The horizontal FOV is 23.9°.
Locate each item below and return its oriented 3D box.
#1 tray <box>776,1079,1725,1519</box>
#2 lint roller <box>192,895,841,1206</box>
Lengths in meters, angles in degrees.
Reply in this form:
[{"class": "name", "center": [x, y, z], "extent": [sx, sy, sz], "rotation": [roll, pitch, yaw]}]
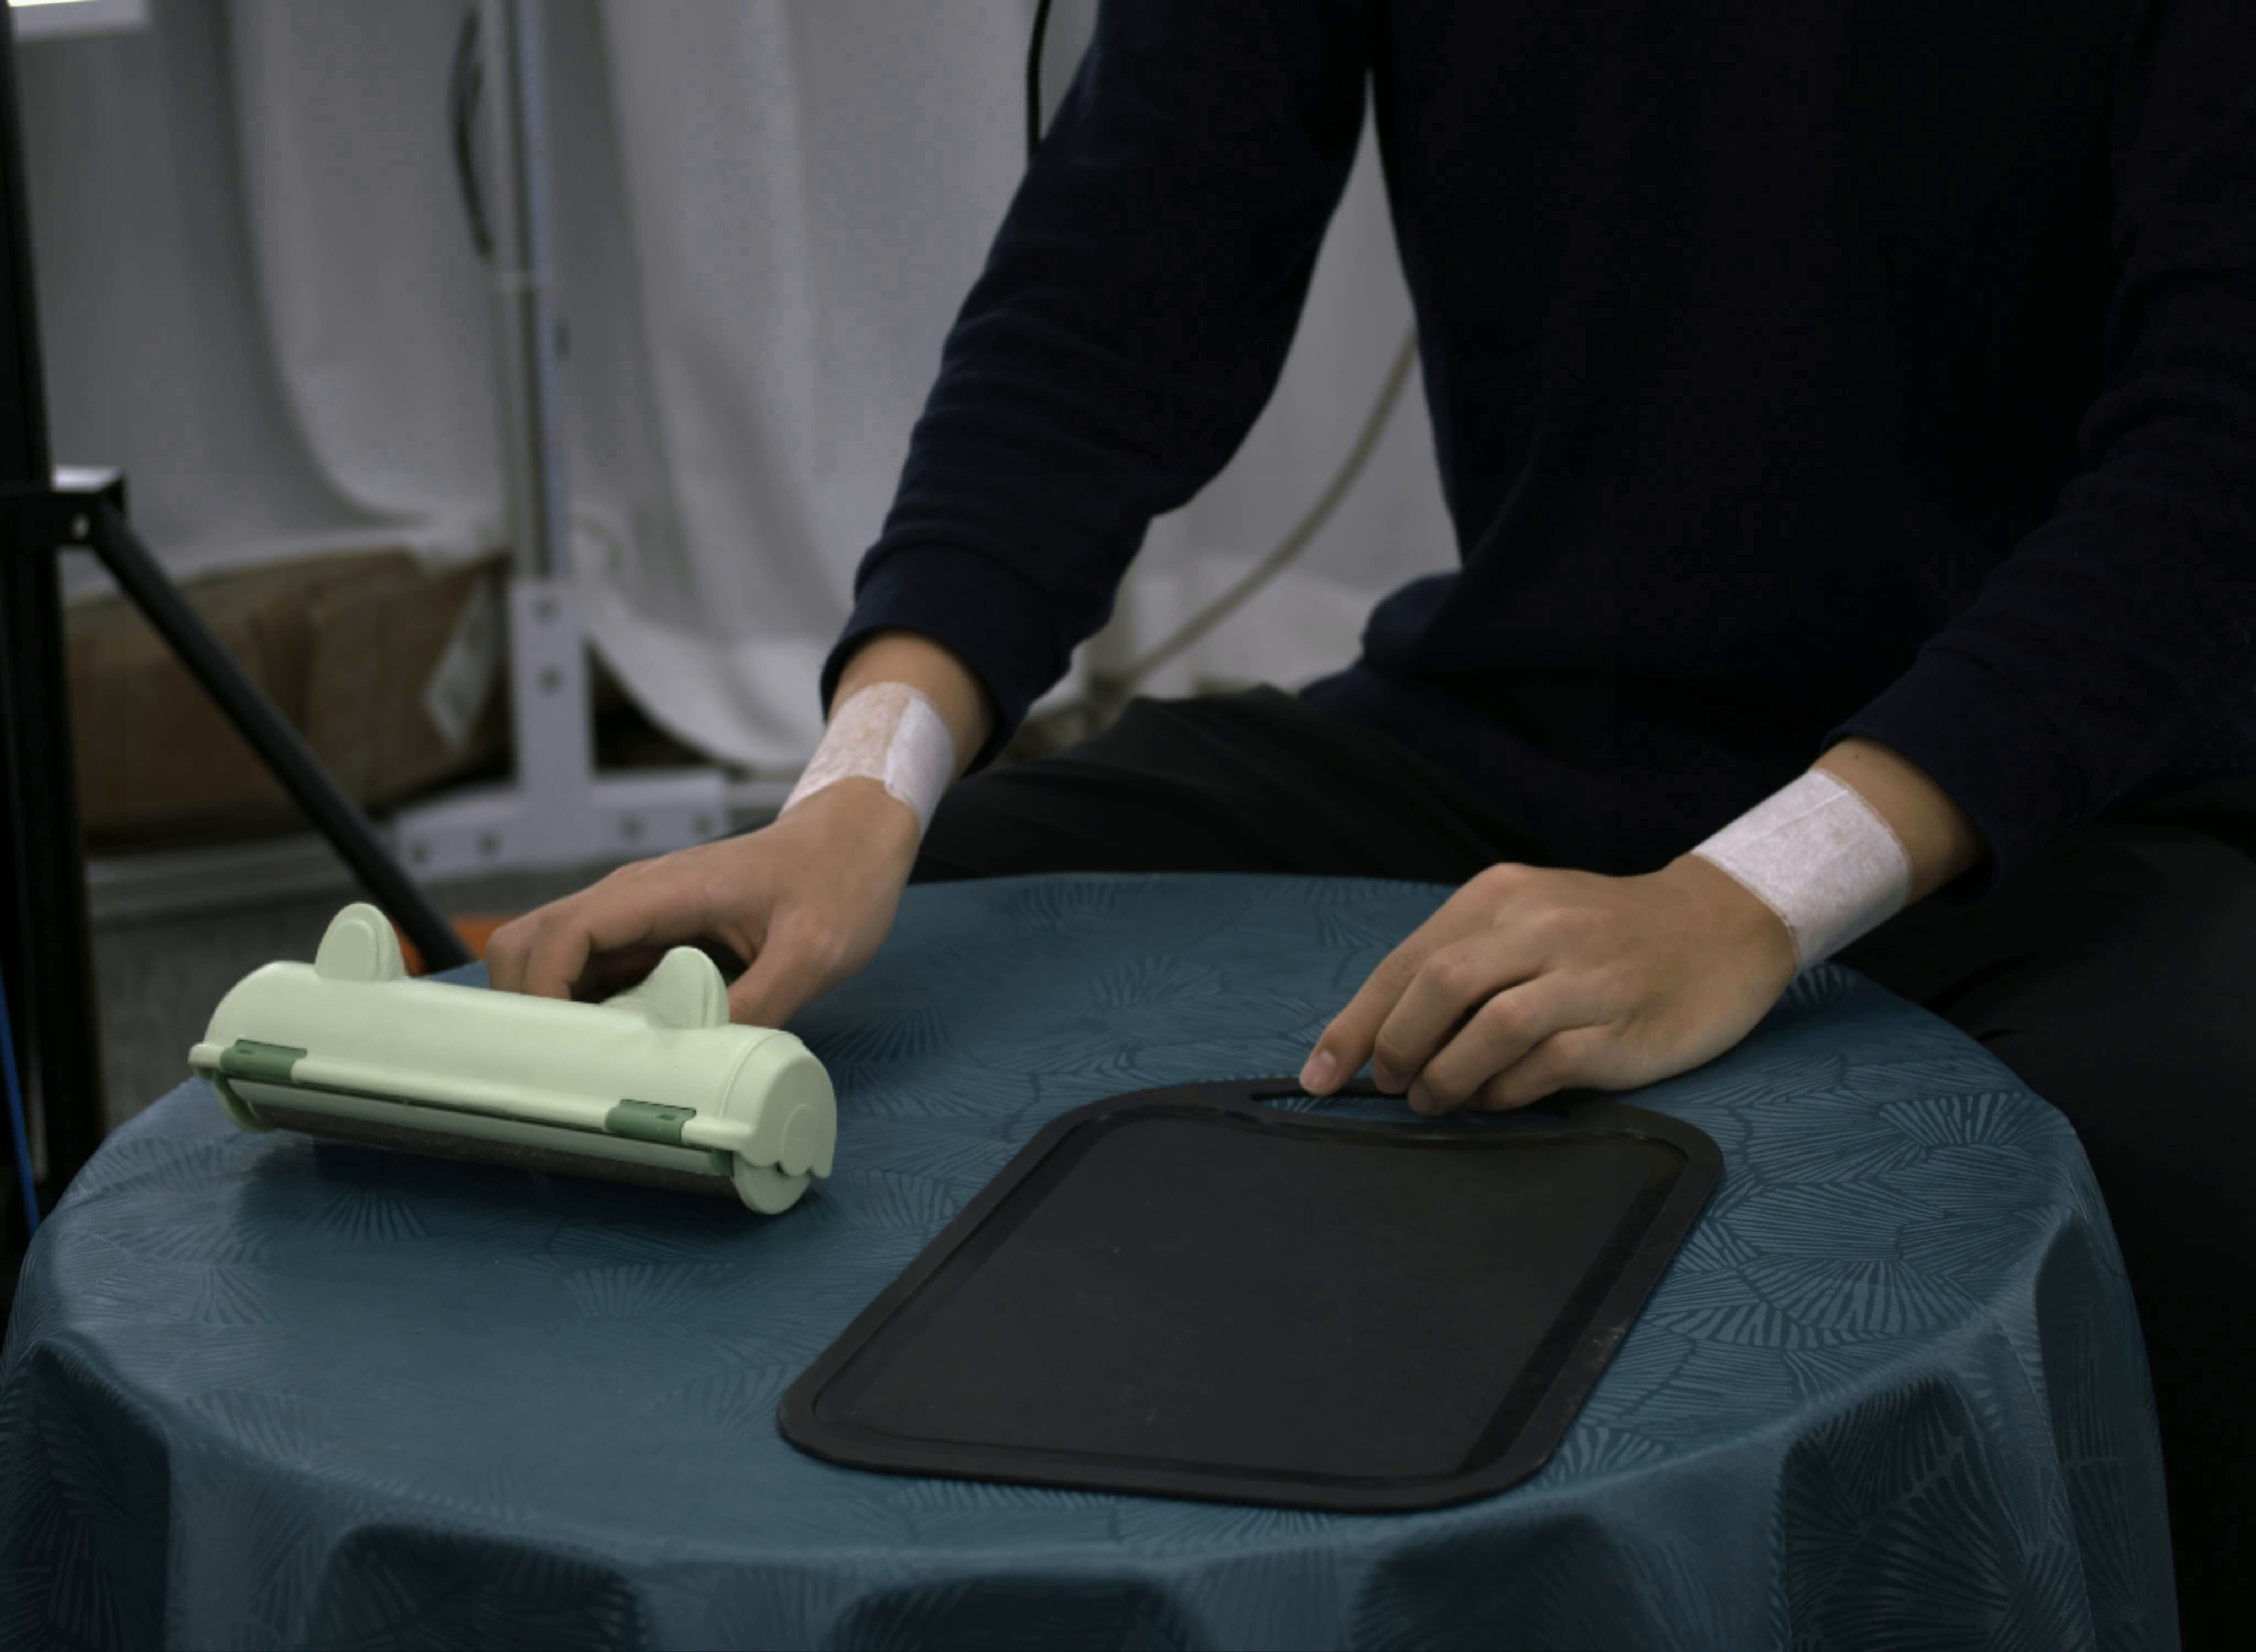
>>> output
[{"class": "tray", "center": [0.043, 0.123, 1.486], "extent": [0.213, 0.010, 0.322], "rotation": [3, 17, 19]}, {"class": "lint roller", "center": [-0.158, 0.049, 1.635], "extent": [0.202, 0.082, 0.181], "rotation": [7, 25, 27]}]
